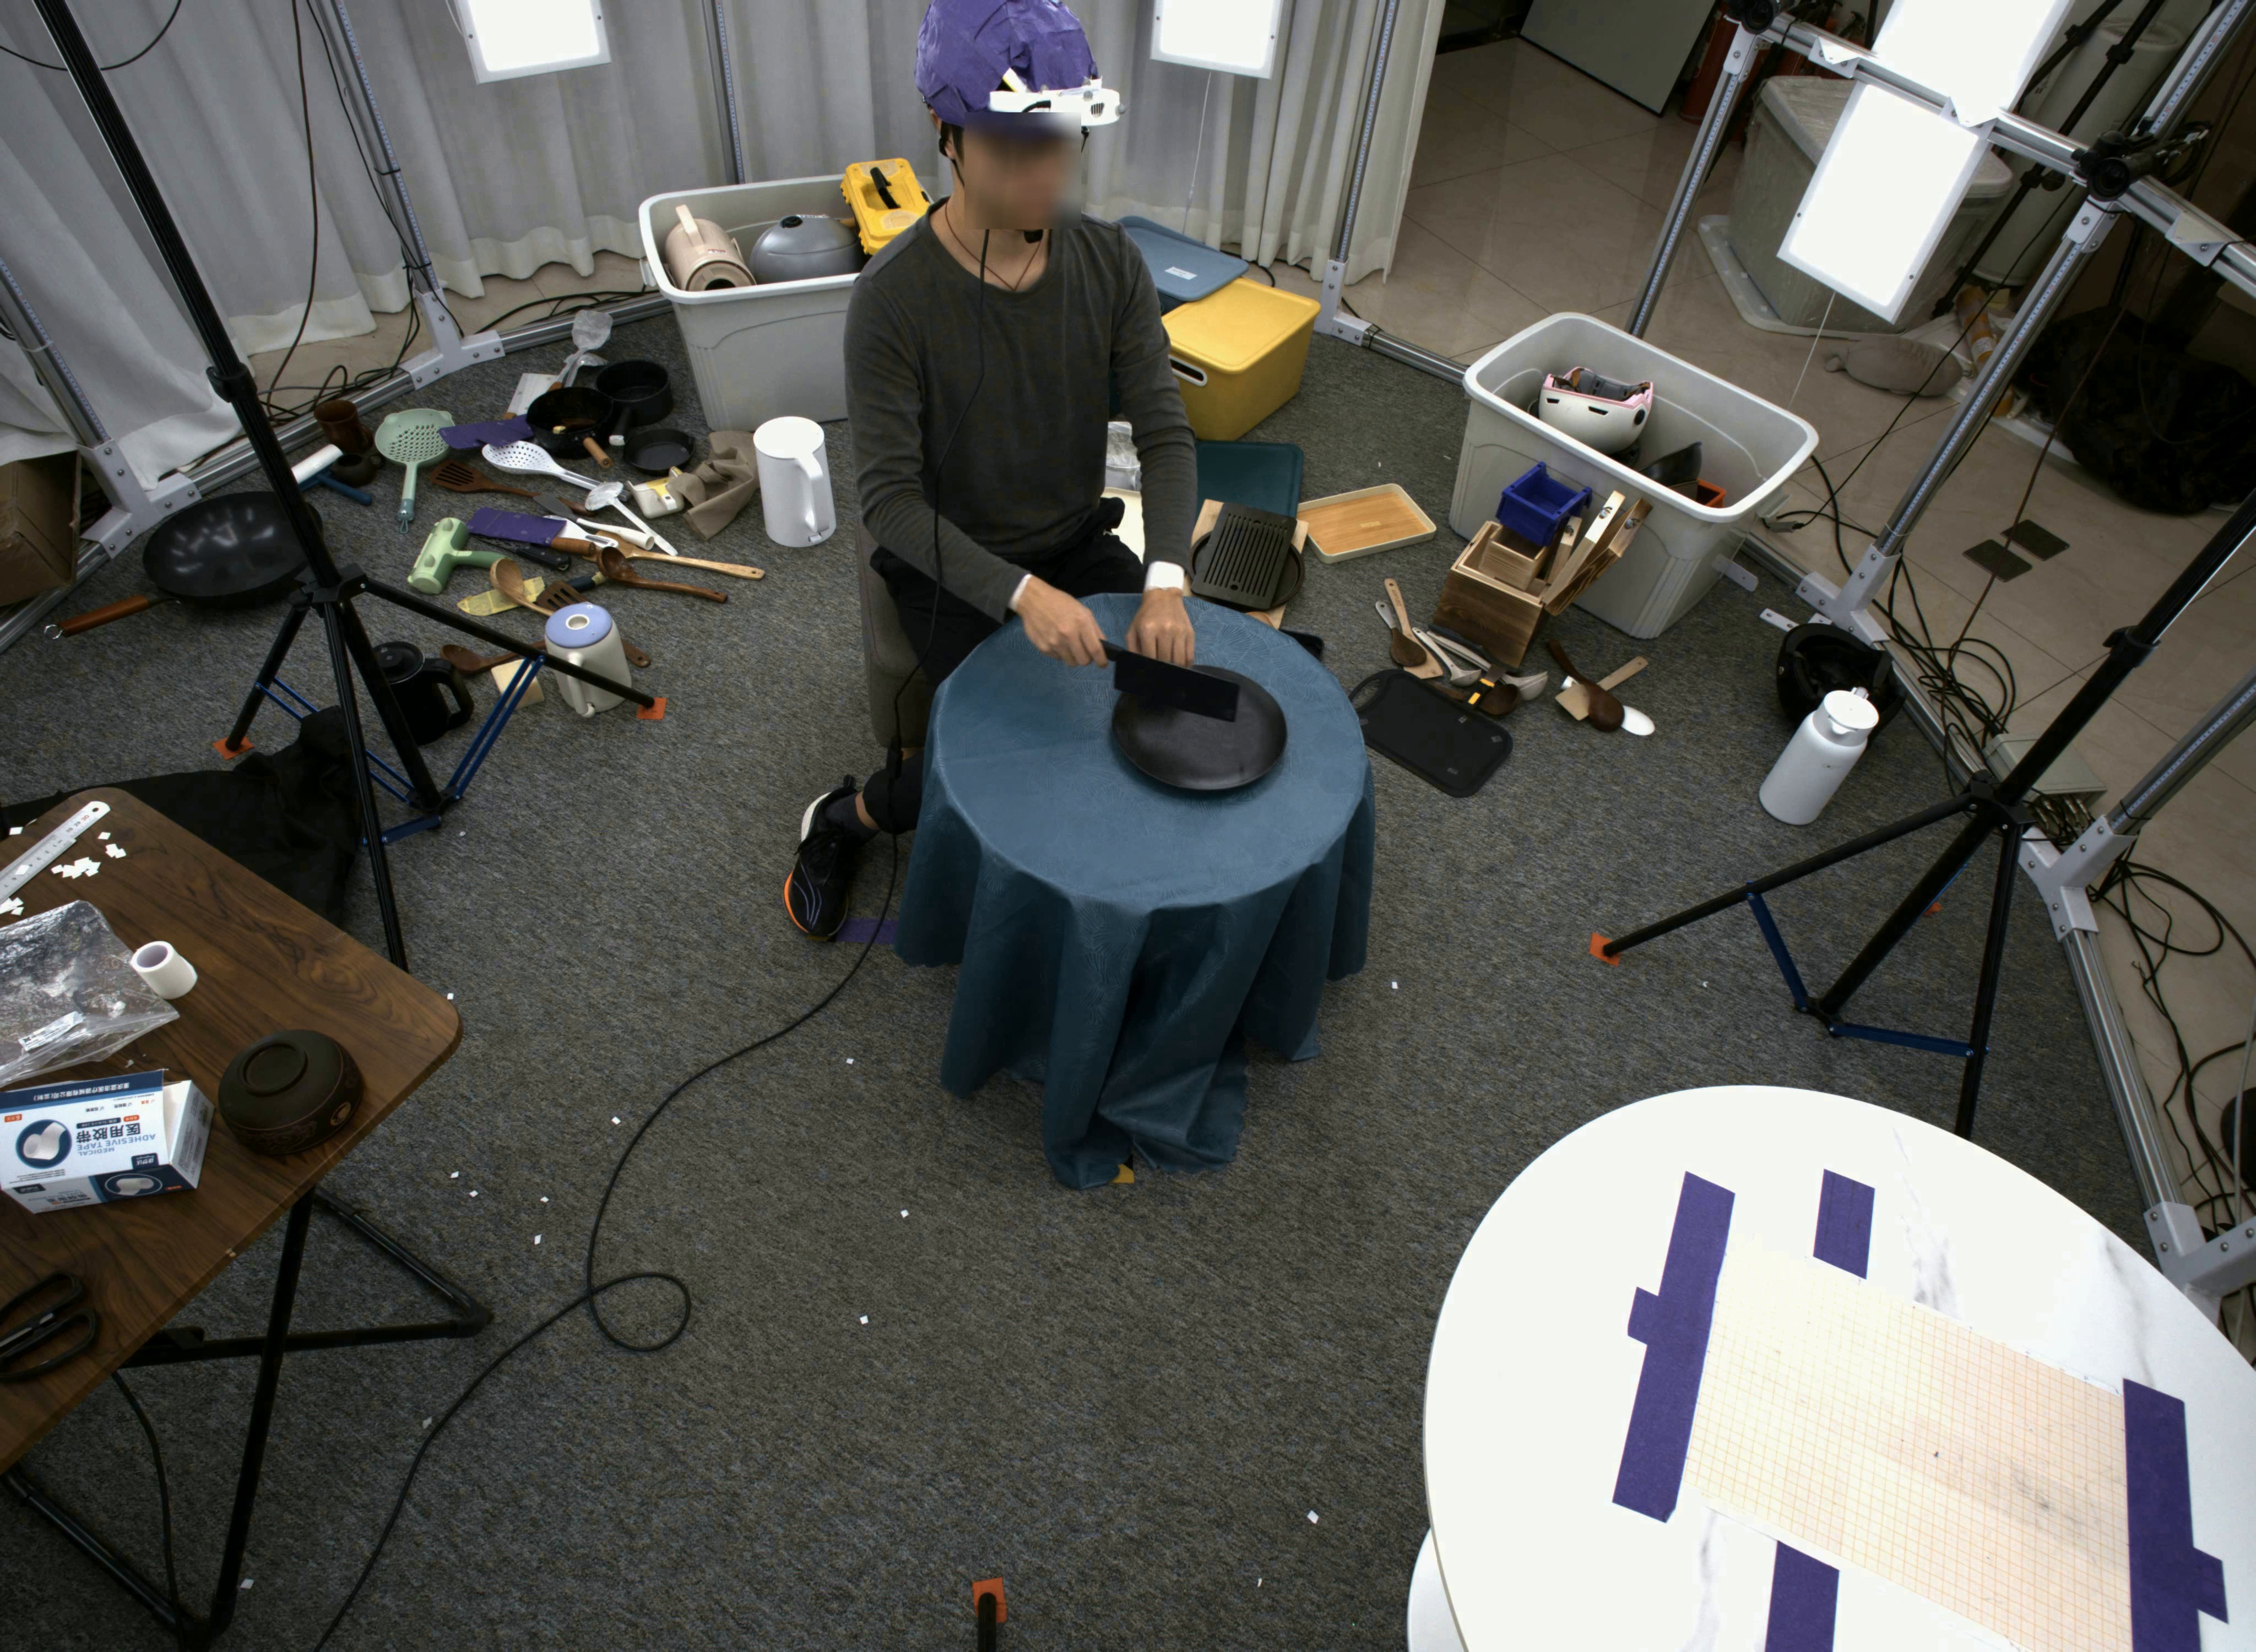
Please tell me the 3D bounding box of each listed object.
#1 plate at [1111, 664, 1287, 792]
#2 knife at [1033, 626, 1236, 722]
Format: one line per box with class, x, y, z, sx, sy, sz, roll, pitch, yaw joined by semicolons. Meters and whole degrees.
plate;0.098;-0.134;1.775;0.244;0.023;0.250;2;49;-2
knife;0.006;-0.208;1.728;0.304;0.079;0.021;23;39;18
